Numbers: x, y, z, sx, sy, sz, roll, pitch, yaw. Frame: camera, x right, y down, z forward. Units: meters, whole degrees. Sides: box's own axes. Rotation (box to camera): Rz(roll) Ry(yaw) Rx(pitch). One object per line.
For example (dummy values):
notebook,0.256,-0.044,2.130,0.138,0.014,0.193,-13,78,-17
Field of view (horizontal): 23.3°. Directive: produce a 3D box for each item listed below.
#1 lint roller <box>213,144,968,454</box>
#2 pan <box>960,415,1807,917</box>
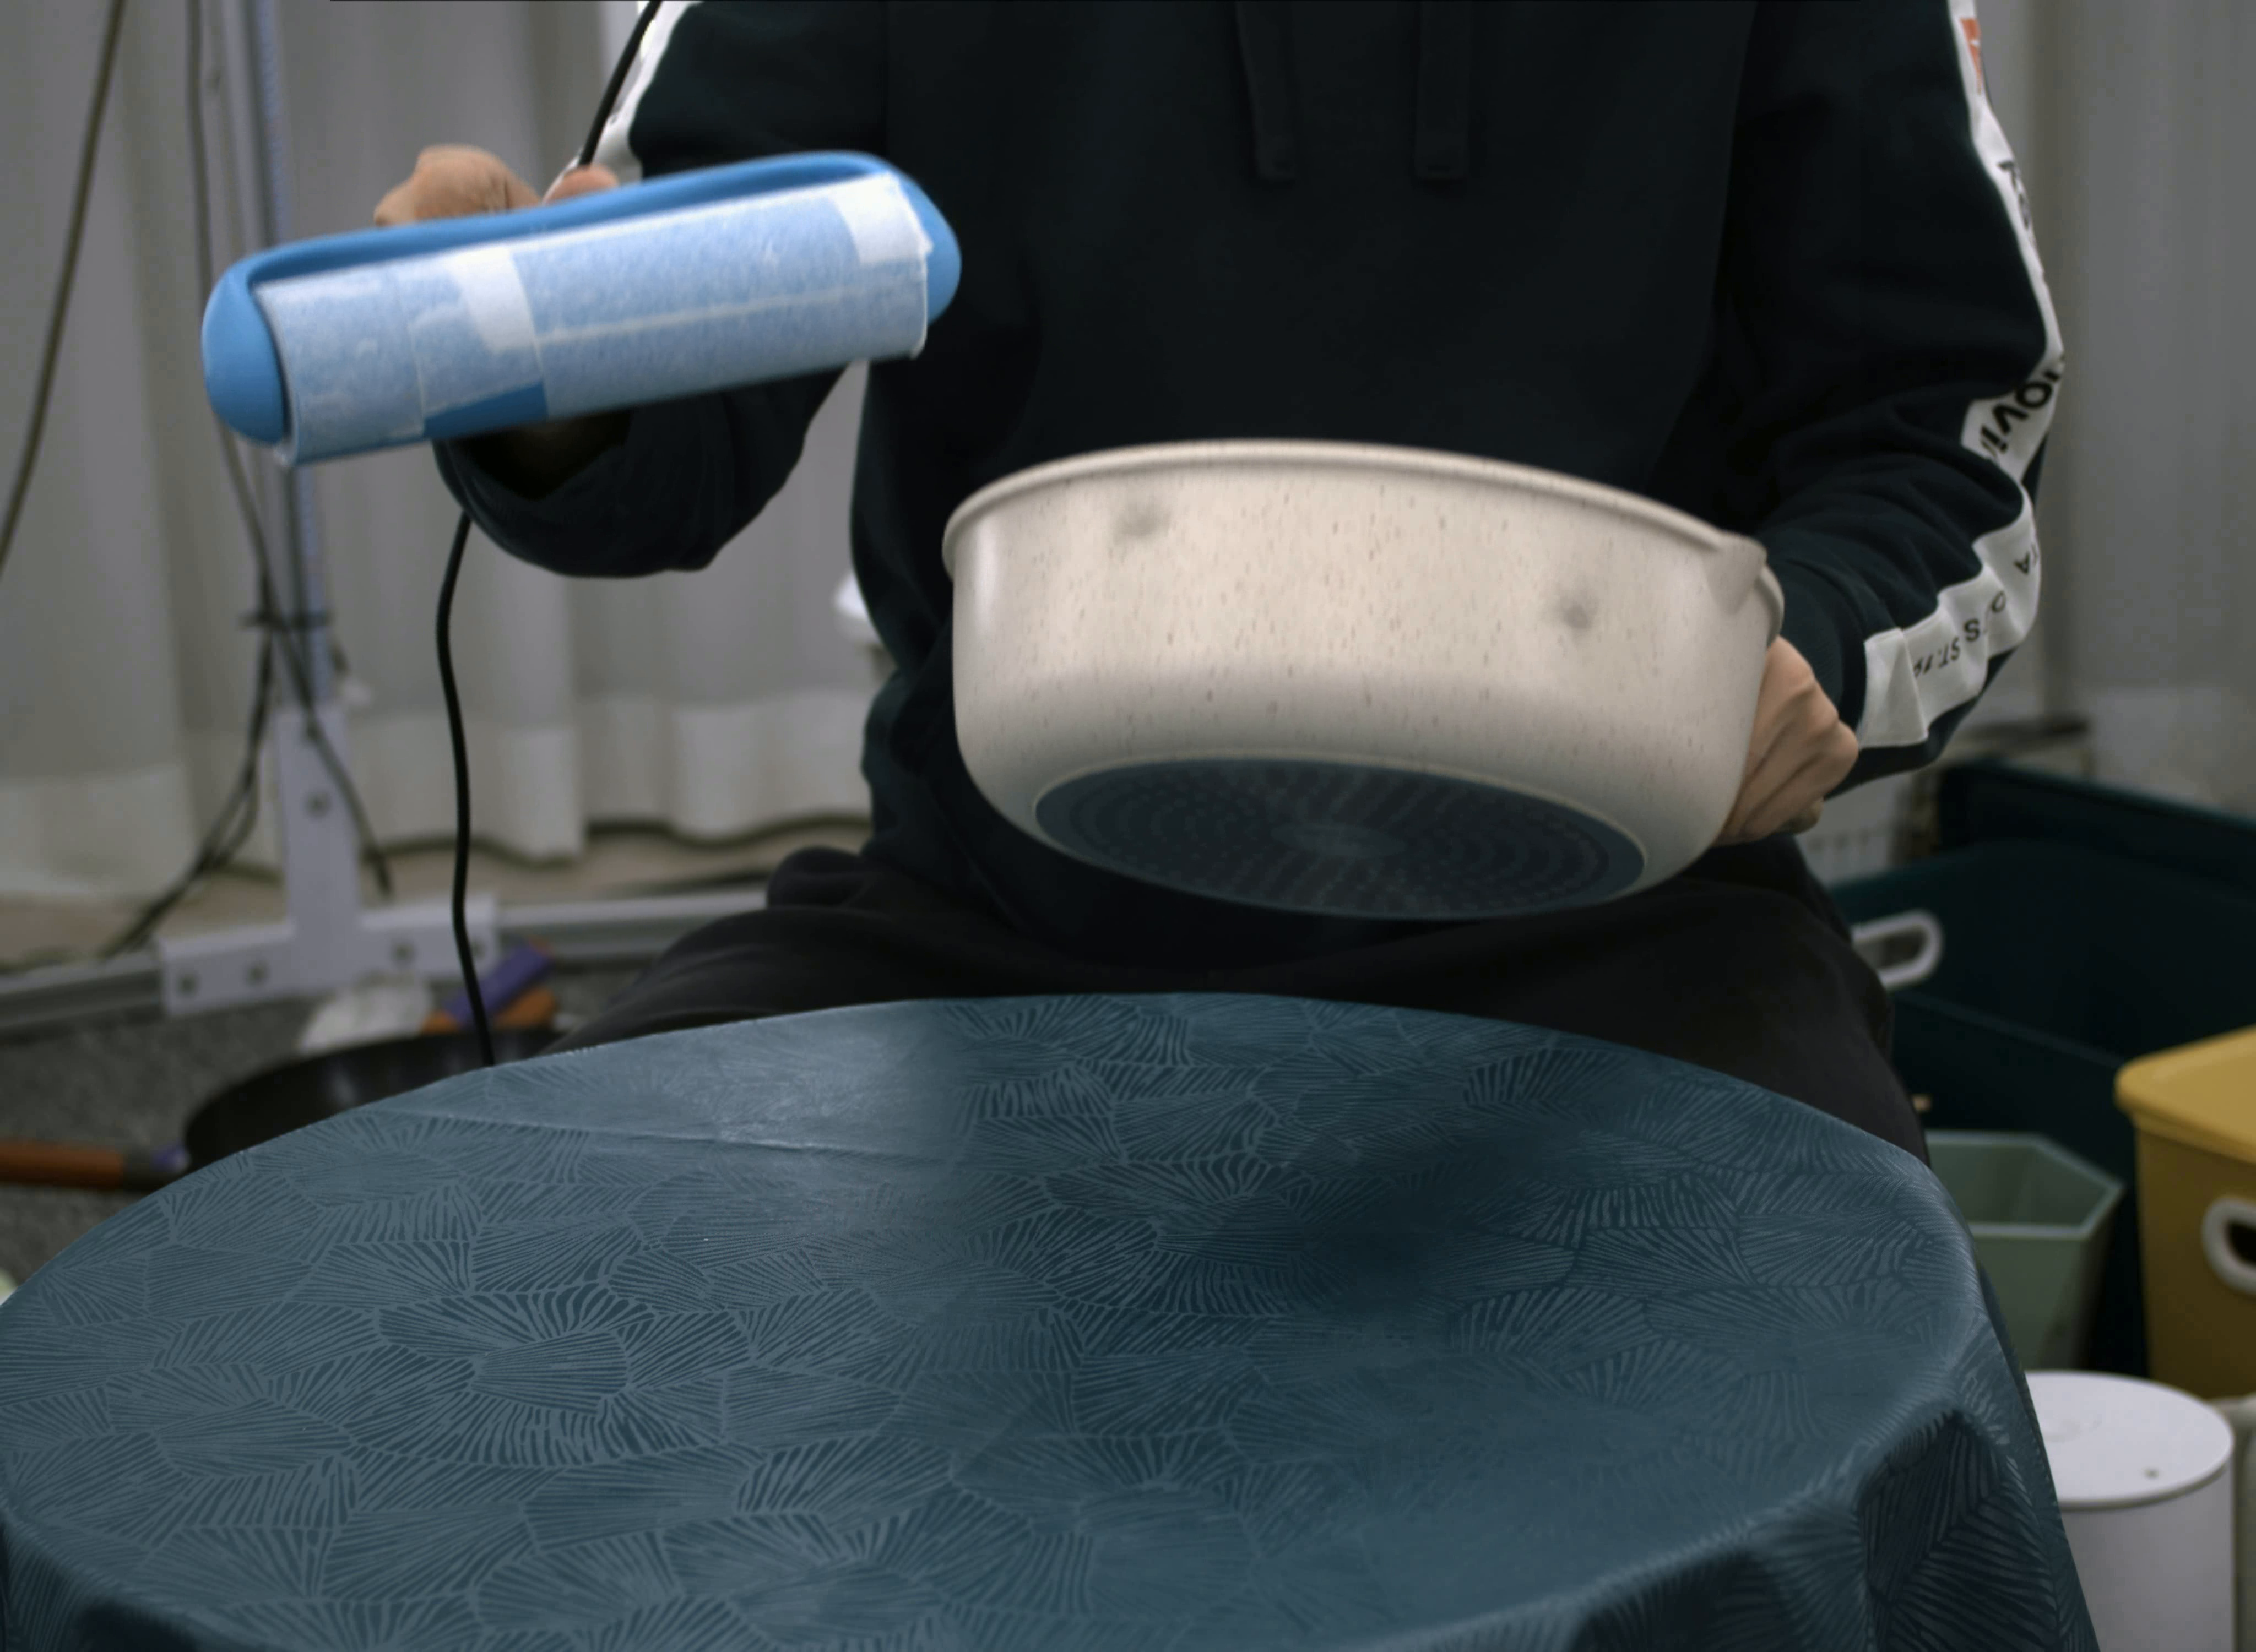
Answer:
lint roller,-0.178,-0.159,1.659,0.228,0.068,0.181,-15,10,-22
pan,0.117,-0.020,1.698,0.263,0.103,0.430,-5,-19,30
